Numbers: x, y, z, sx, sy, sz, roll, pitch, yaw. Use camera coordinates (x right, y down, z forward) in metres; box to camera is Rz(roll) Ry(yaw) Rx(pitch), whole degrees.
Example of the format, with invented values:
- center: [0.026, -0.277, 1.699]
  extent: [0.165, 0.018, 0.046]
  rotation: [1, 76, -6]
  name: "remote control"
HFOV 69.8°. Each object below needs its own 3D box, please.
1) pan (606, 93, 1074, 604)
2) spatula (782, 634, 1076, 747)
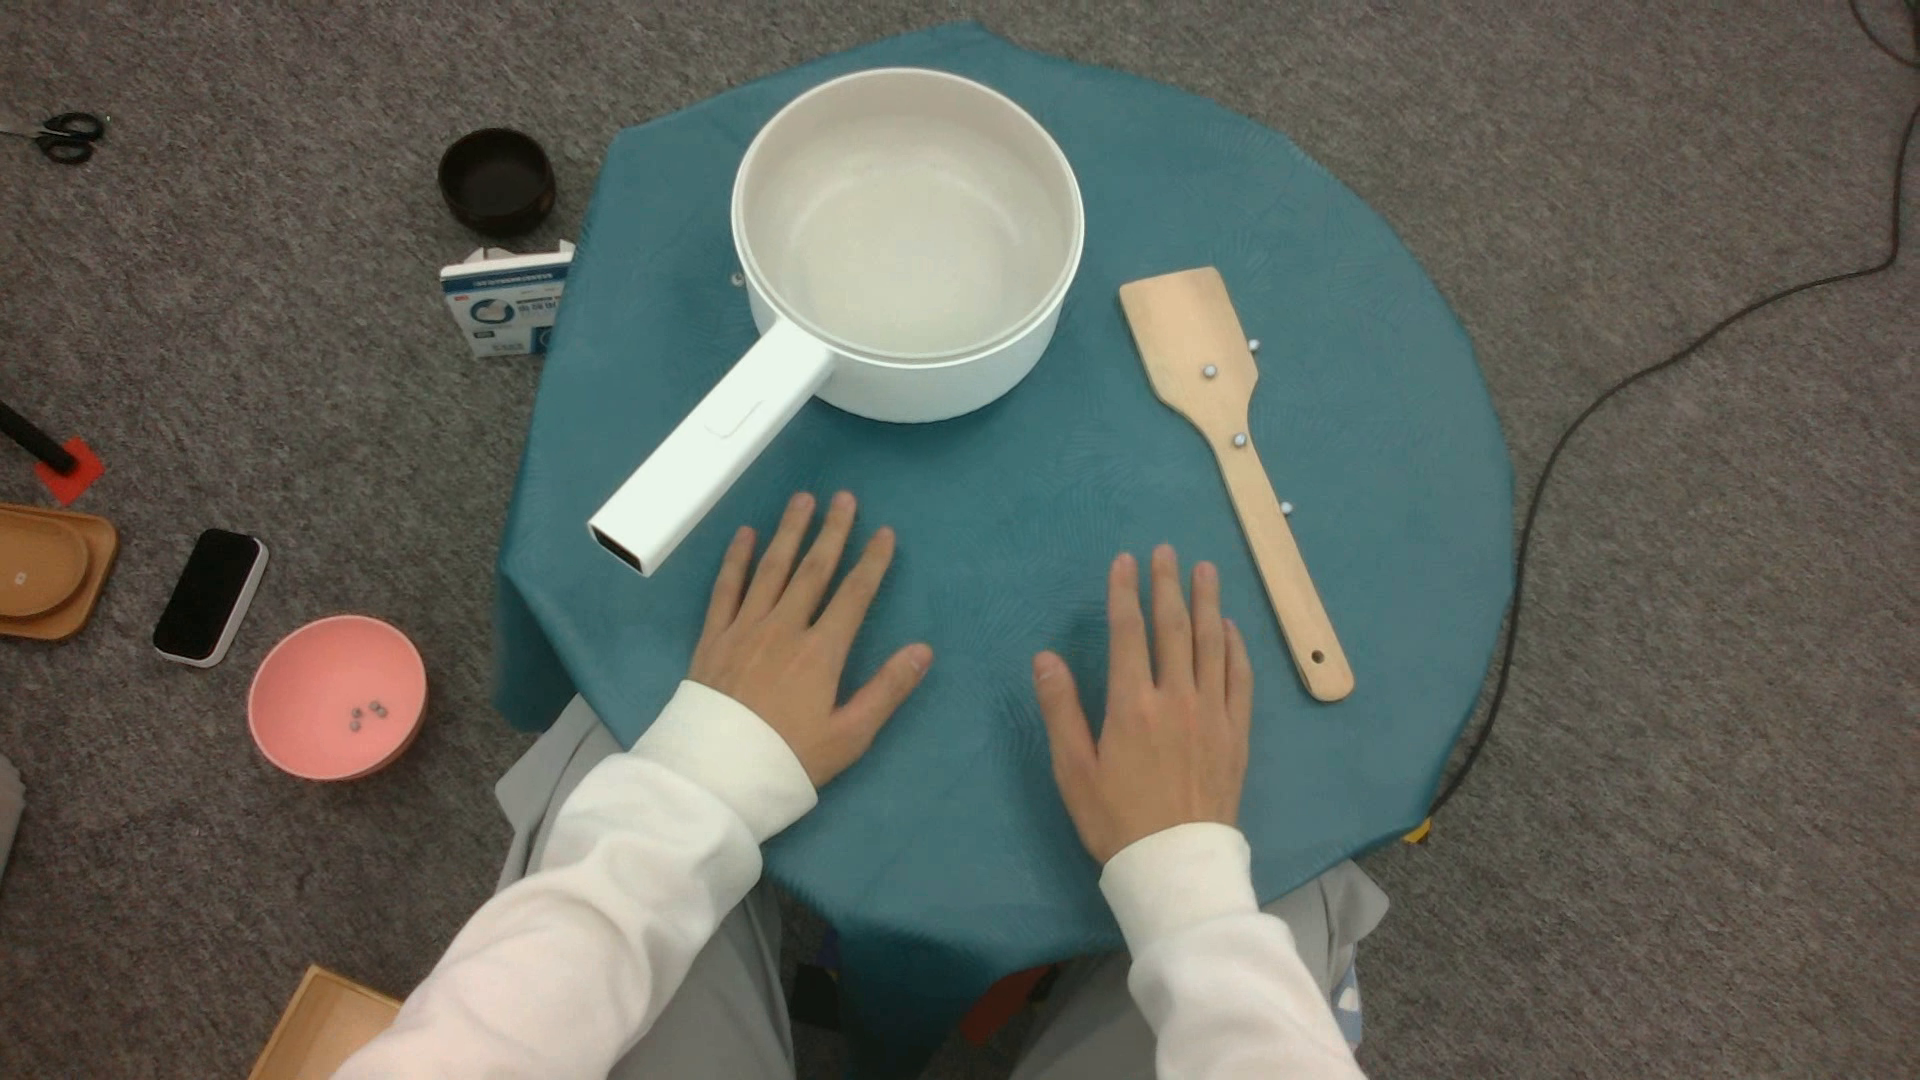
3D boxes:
- center: [-0.078, -0.103, 0.823]
  extent: [0.201, 0.102, 0.356]
  rotation: [33, 71, 7]
  name: "pan"
- center: [-0.033, 0.139, 1.357]
  extent: [0.293, 0.010, 0.072]
  rotation: [13, 68, 3]
  name: "spatula"
